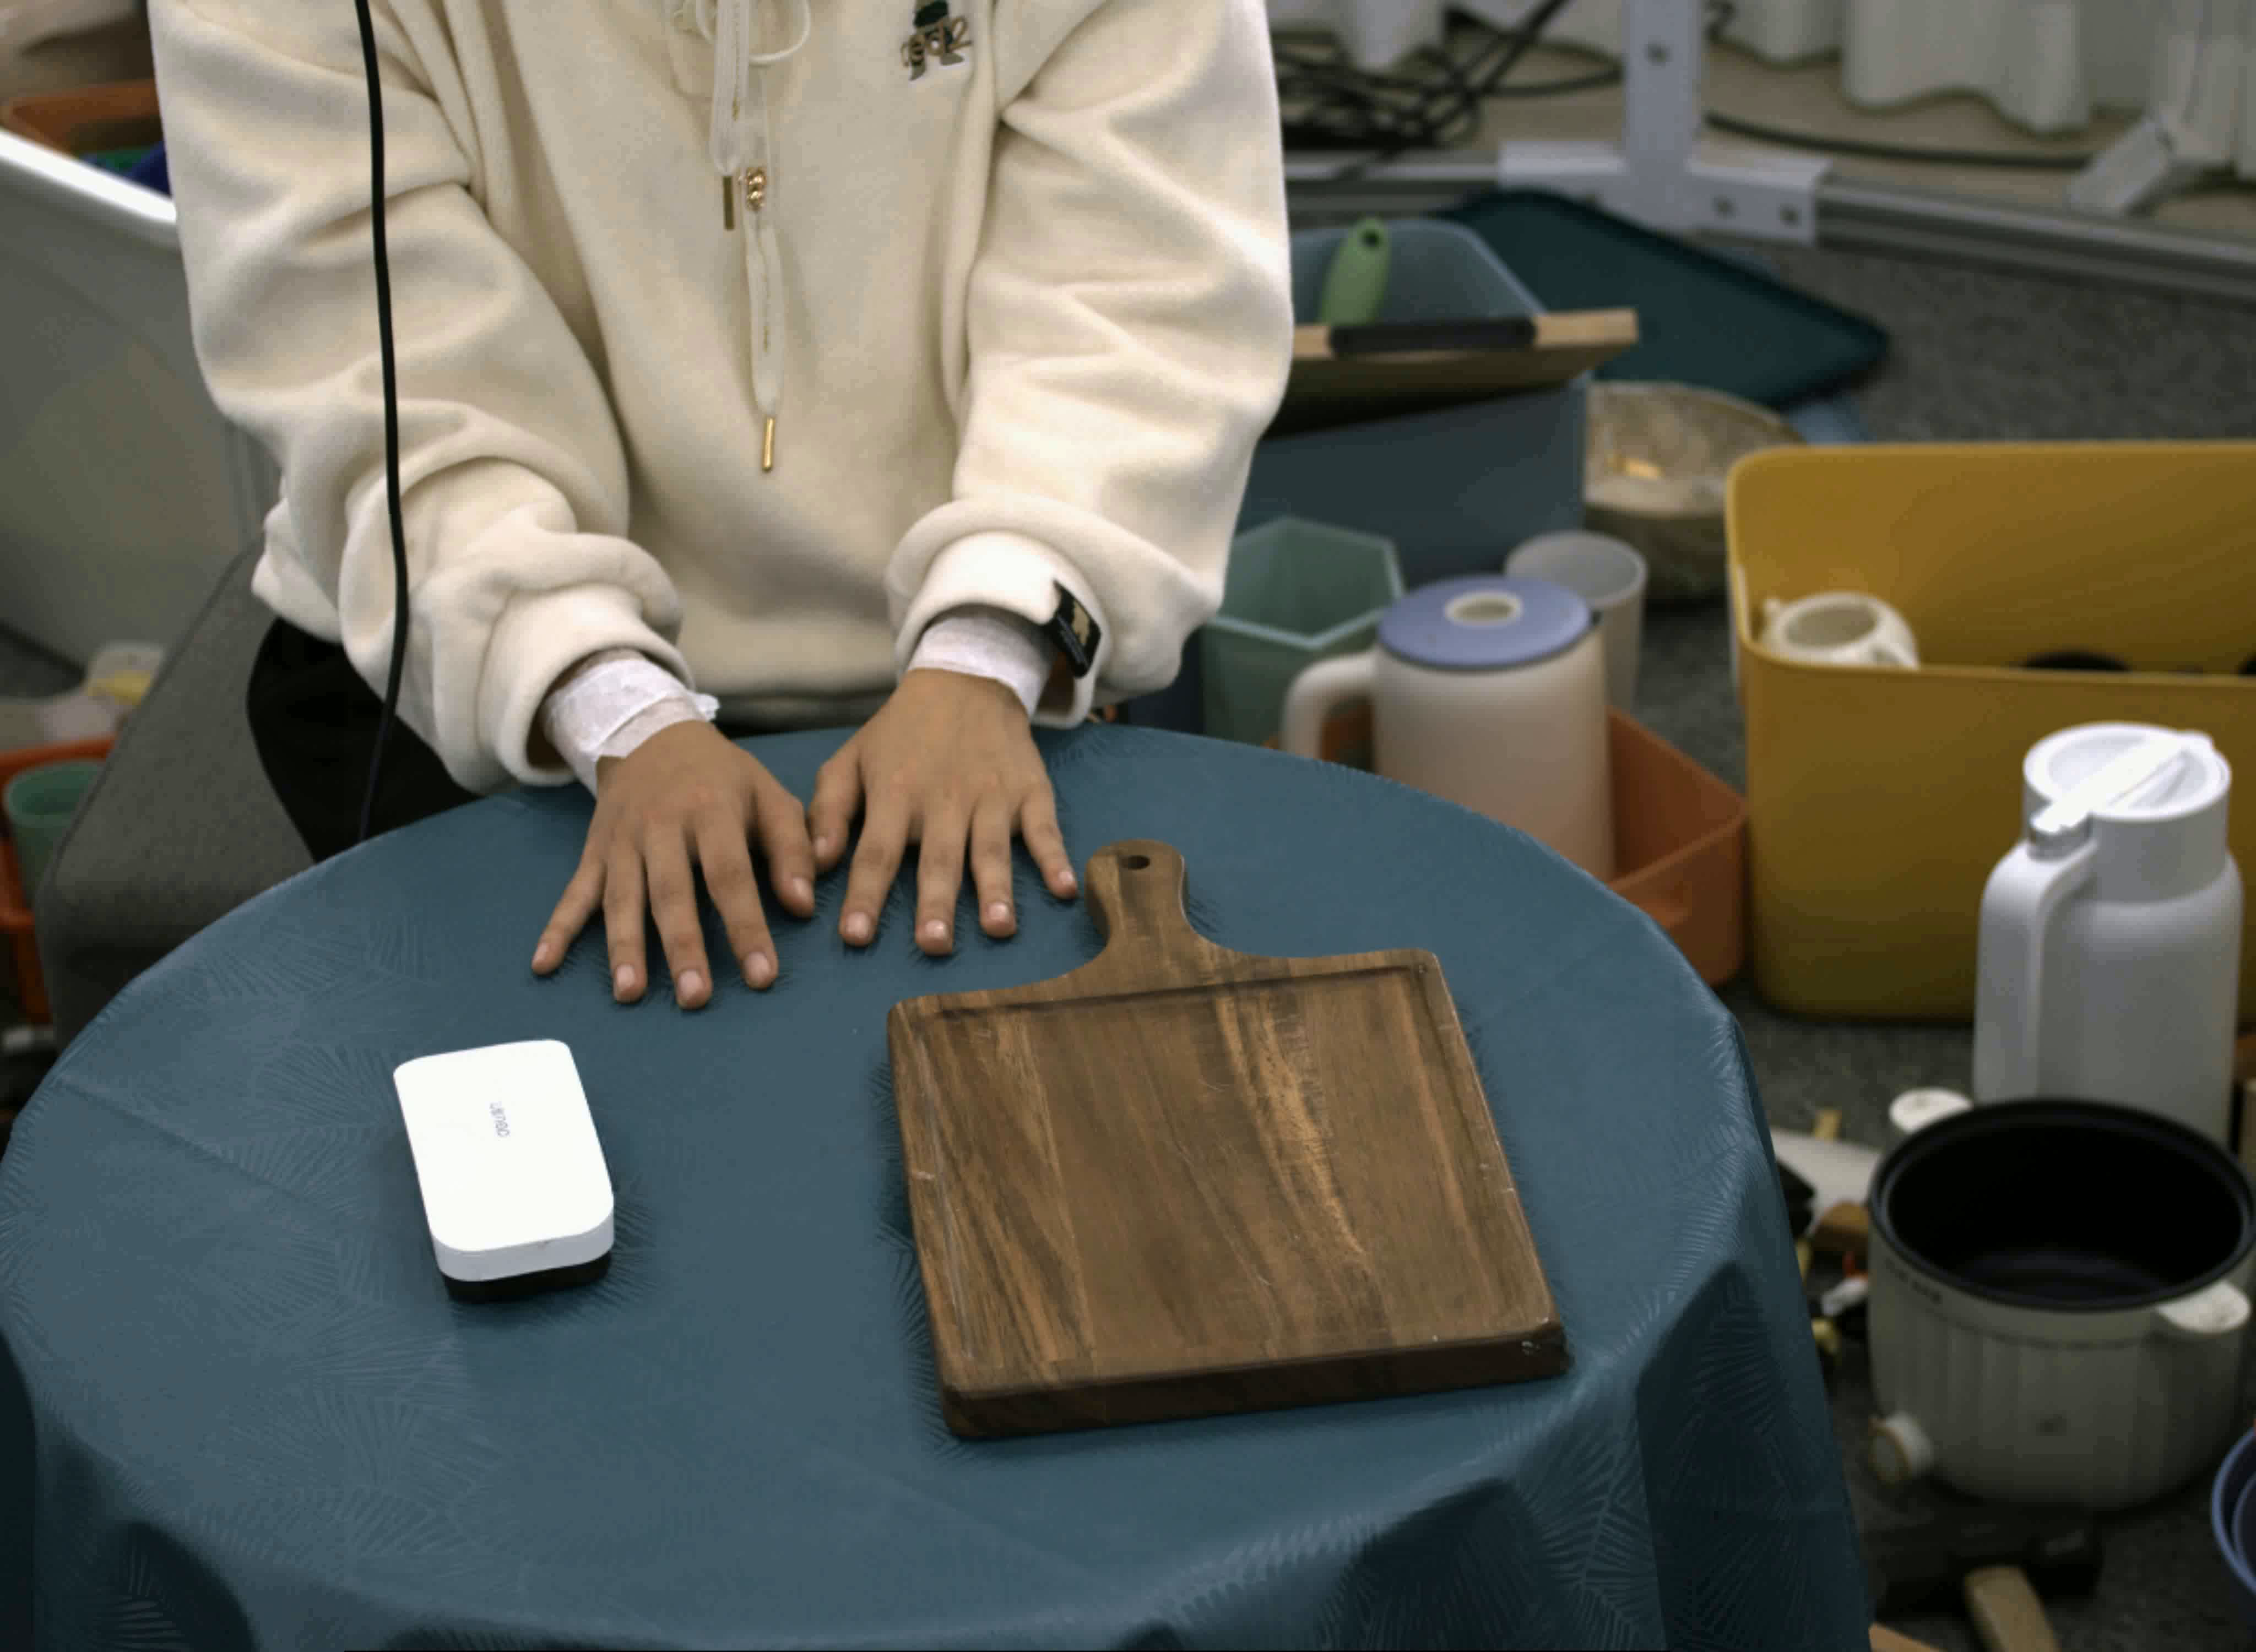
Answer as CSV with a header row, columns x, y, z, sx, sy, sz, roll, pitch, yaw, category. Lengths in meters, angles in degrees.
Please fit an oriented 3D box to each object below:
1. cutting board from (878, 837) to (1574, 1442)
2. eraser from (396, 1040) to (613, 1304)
x,y,z,sx,sy,sz,roll,pitch,yaw,category
0.020,0.093,1.890,0.200,0.023,0.357,-5,28,-5,cutting board
-0.206,0.112,1.868,0.063,0.034,0.133,-9,28,-9,eraser
